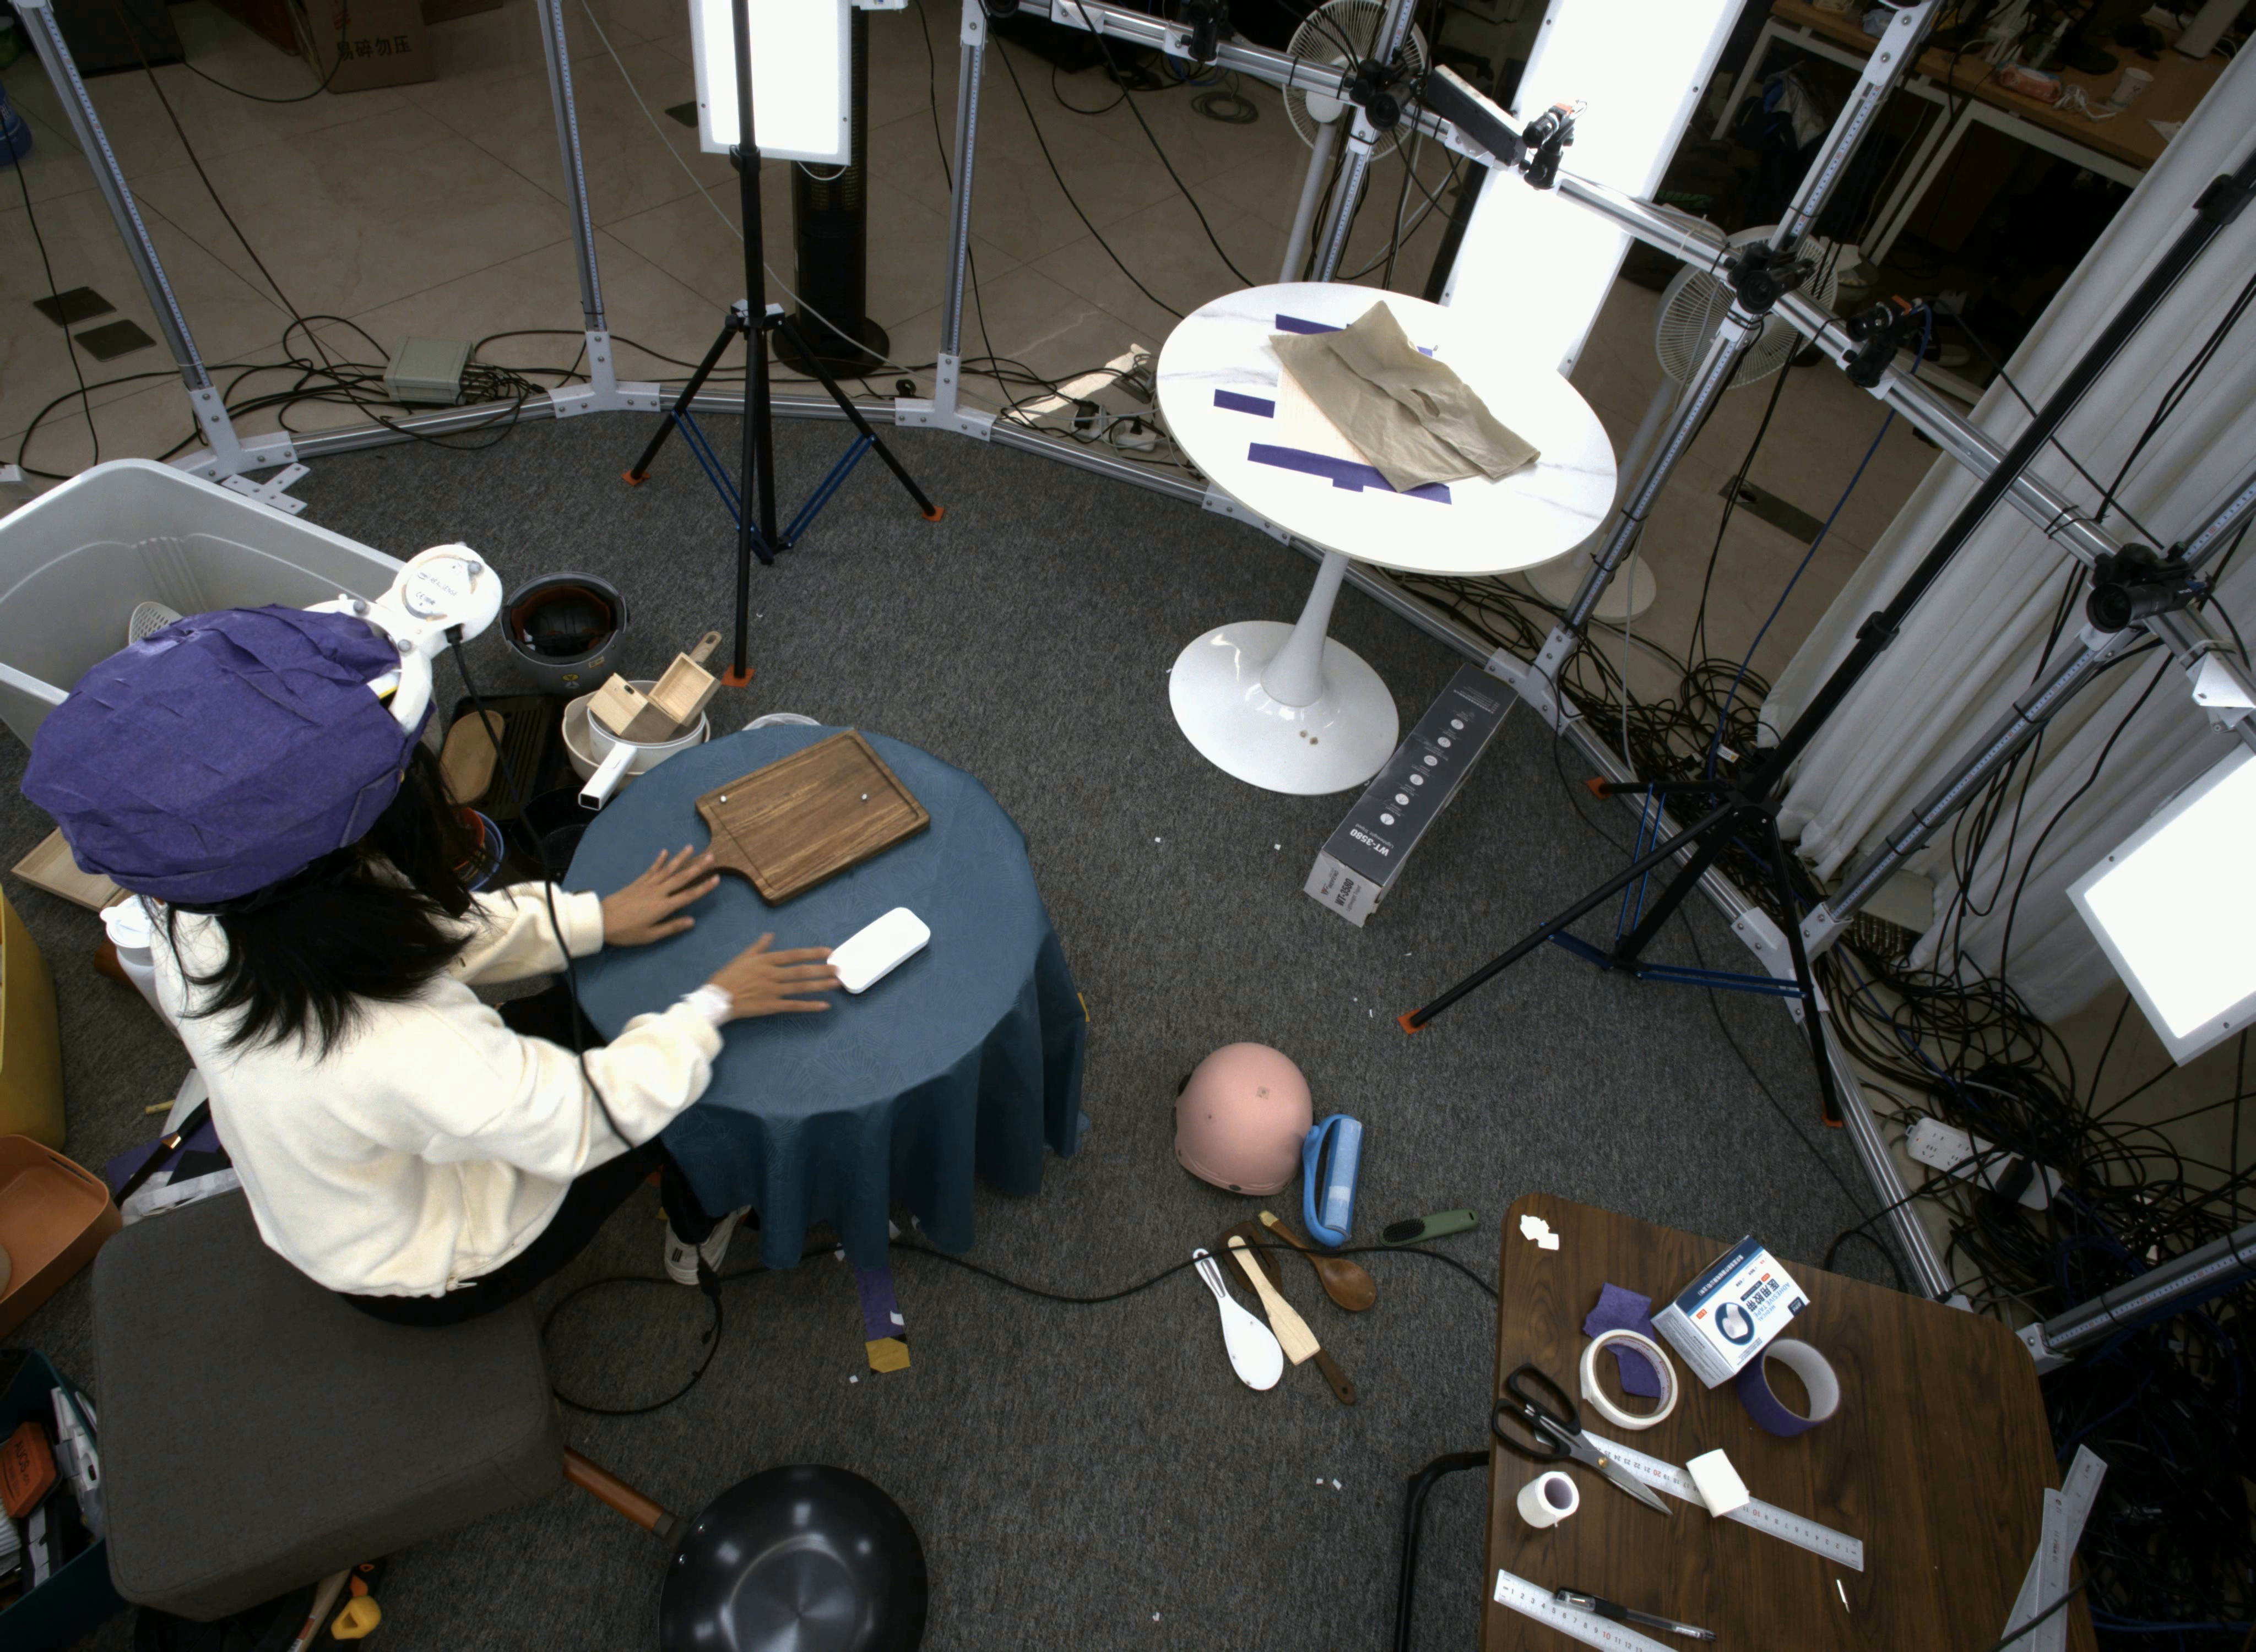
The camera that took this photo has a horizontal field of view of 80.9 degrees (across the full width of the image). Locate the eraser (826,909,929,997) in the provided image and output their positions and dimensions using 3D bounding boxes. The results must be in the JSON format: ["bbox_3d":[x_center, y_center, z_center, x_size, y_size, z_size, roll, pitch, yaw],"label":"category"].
[{"bbox_3d":[-0.311,0.153,1.614,0.062,0.035,0.131,43,55,17],"label":"eraser"}]

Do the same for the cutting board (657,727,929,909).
[{"bbox_3d":[-0.456,0.003,1.695,0.353,0.023,0.196,-31,66,-32],"label":"cutting board"}]
